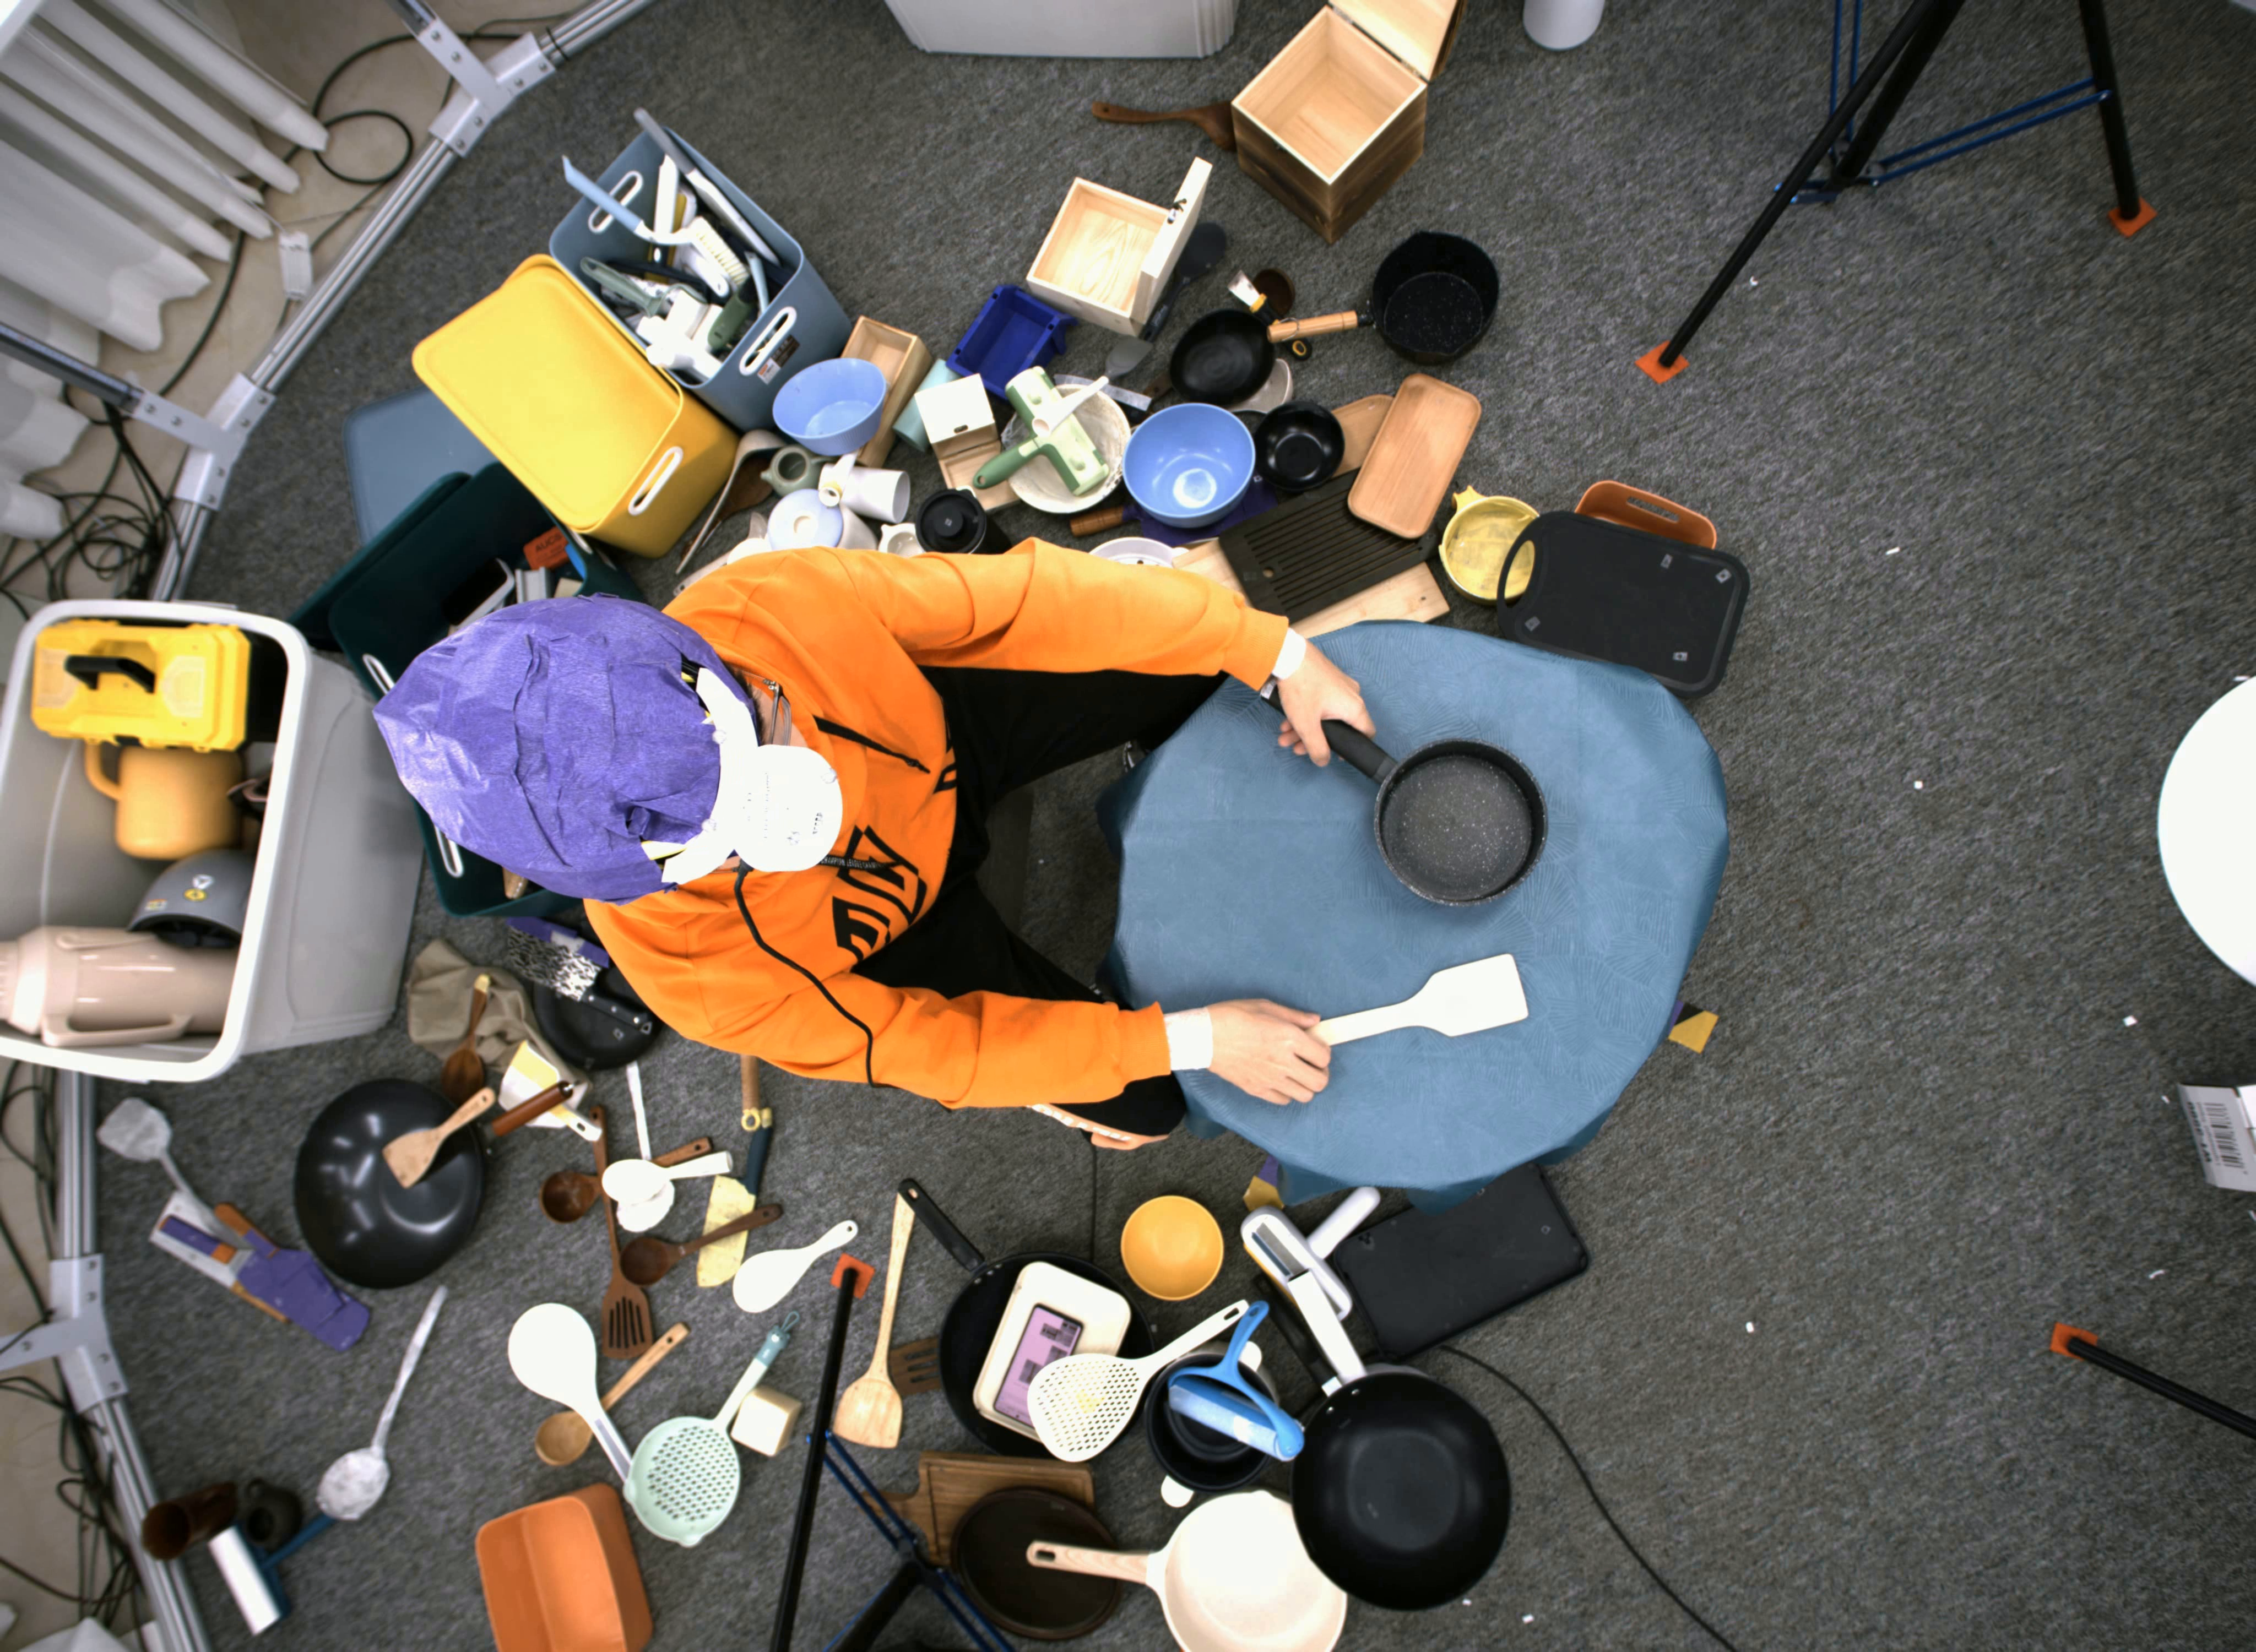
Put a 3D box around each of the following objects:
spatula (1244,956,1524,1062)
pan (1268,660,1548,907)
[{"bbox_3d":[0.264,0.202,1.449,0.294,0.010,0.072,-15,87,9],"label":"spatula"},{"bbox_3d":[0.278,-0.053,1.423,0.327,0.086,0.172,40,93,9],"label":"pan"}]
